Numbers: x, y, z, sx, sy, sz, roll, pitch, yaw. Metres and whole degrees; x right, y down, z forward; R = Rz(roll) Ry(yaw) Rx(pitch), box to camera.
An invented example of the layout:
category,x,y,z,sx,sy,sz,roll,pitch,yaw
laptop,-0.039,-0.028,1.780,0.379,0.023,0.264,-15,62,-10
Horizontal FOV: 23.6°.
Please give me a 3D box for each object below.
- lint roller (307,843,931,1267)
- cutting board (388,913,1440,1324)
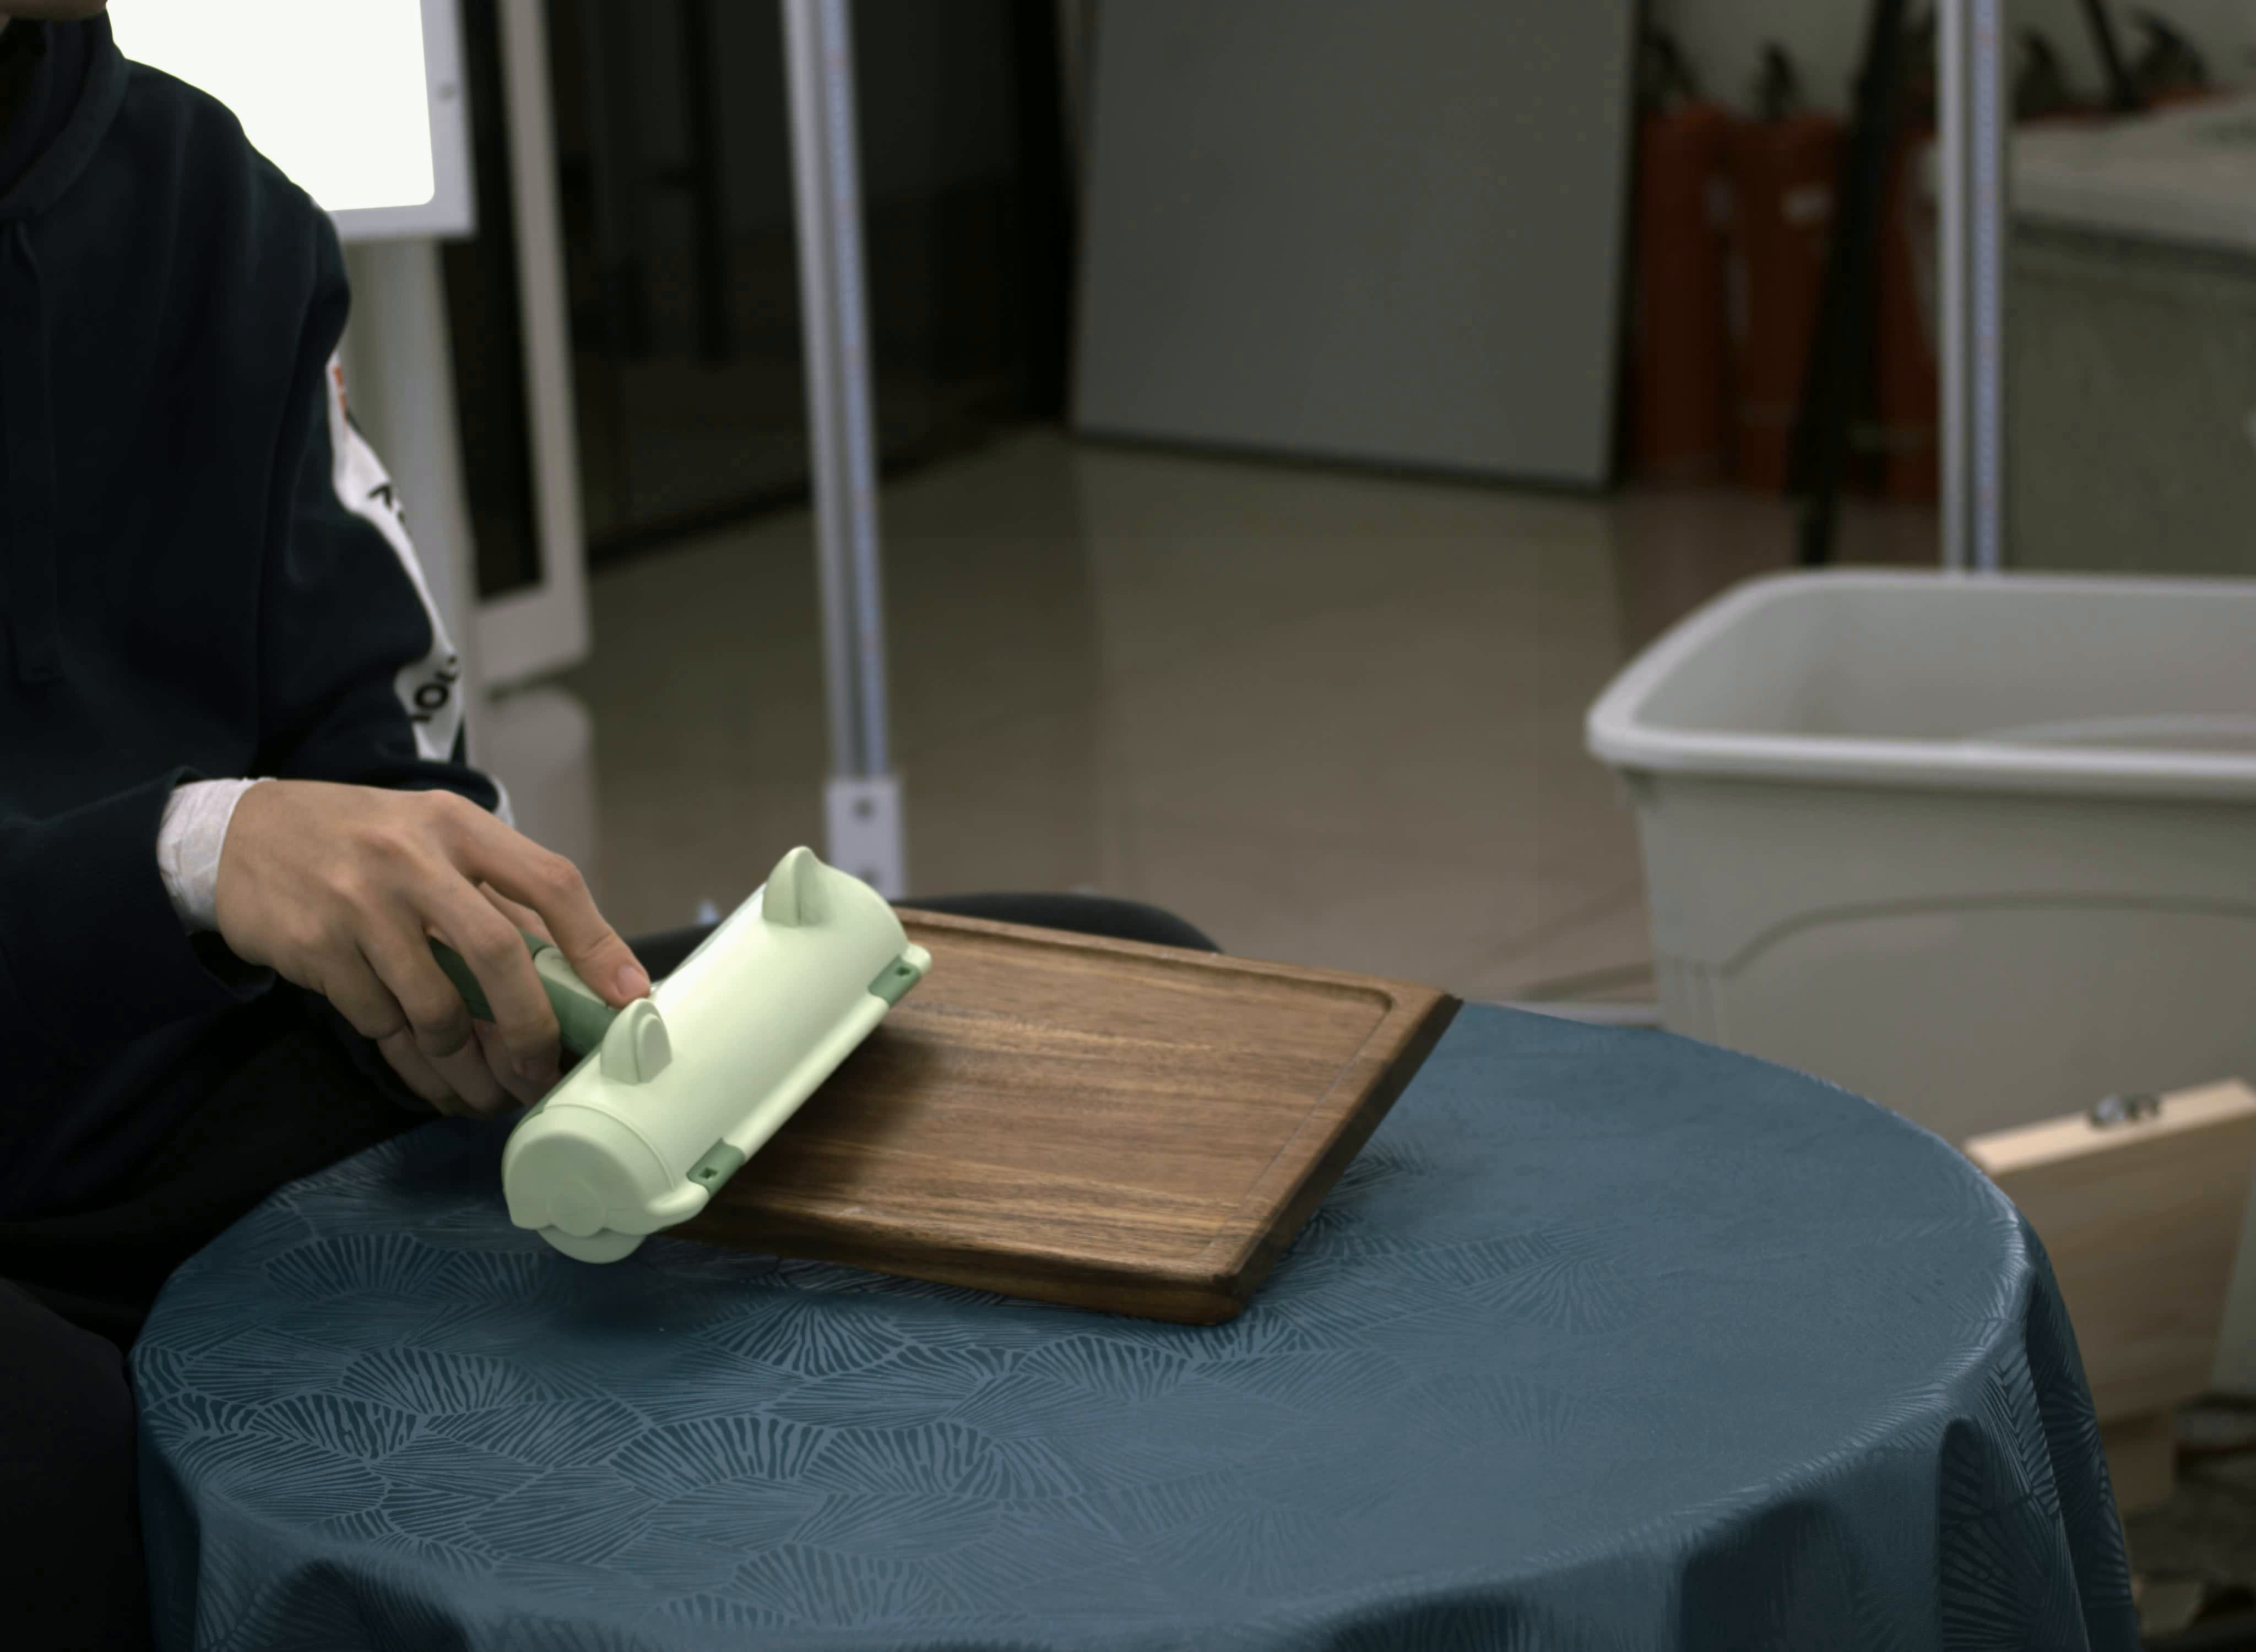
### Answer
category,x,y,z,sx,sy,sz,roll,pitch,yaw
lint roller,-0.178,0.043,1.734,0.183,0.083,0.197,27,33,12
cutting board,-0.089,0.084,1.780,0.352,0.023,0.199,6,29,24
